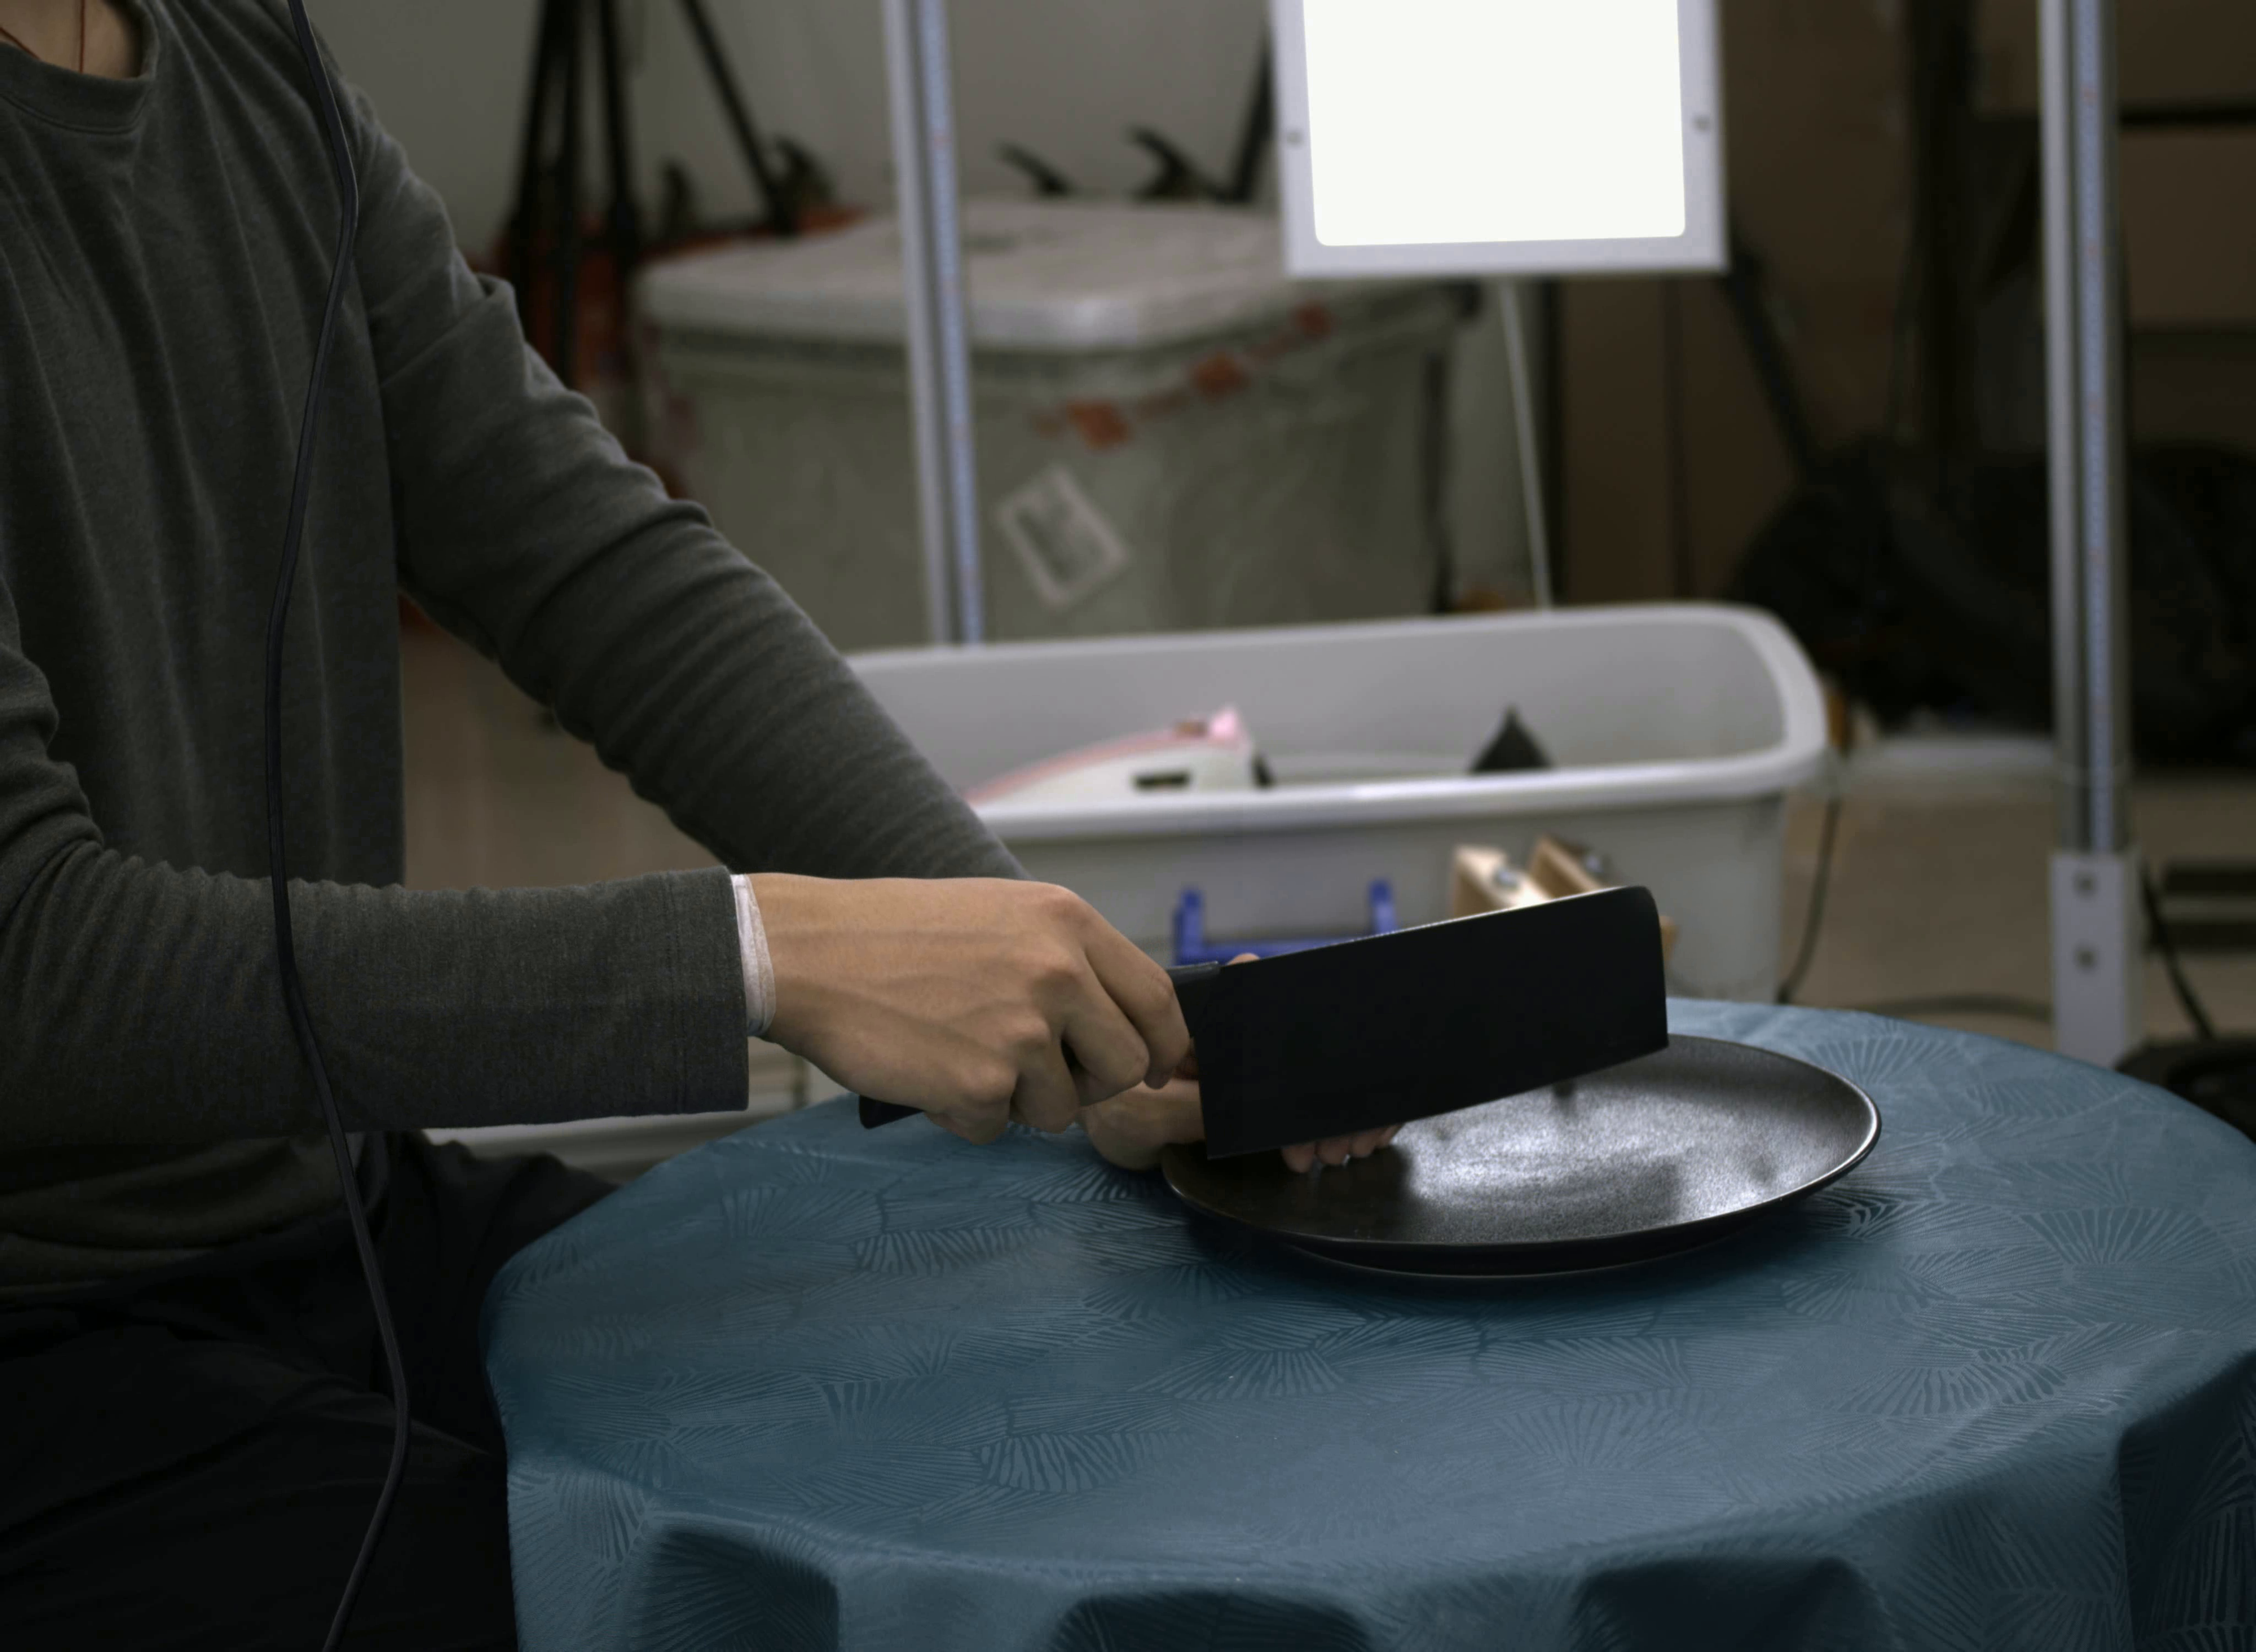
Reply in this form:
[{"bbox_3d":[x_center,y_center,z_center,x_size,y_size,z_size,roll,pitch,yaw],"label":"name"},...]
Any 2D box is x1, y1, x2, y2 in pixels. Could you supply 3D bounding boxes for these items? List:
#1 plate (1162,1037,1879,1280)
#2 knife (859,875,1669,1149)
[{"bbox_3d":[0.133,0.114,1.859,0.244,0.023,0.244,-5,13,0],"label":"plate"},{"bbox_3d":[0.051,0.070,1.853,0.296,0.081,0.021,-6,10,-21],"label":"knife"}]
